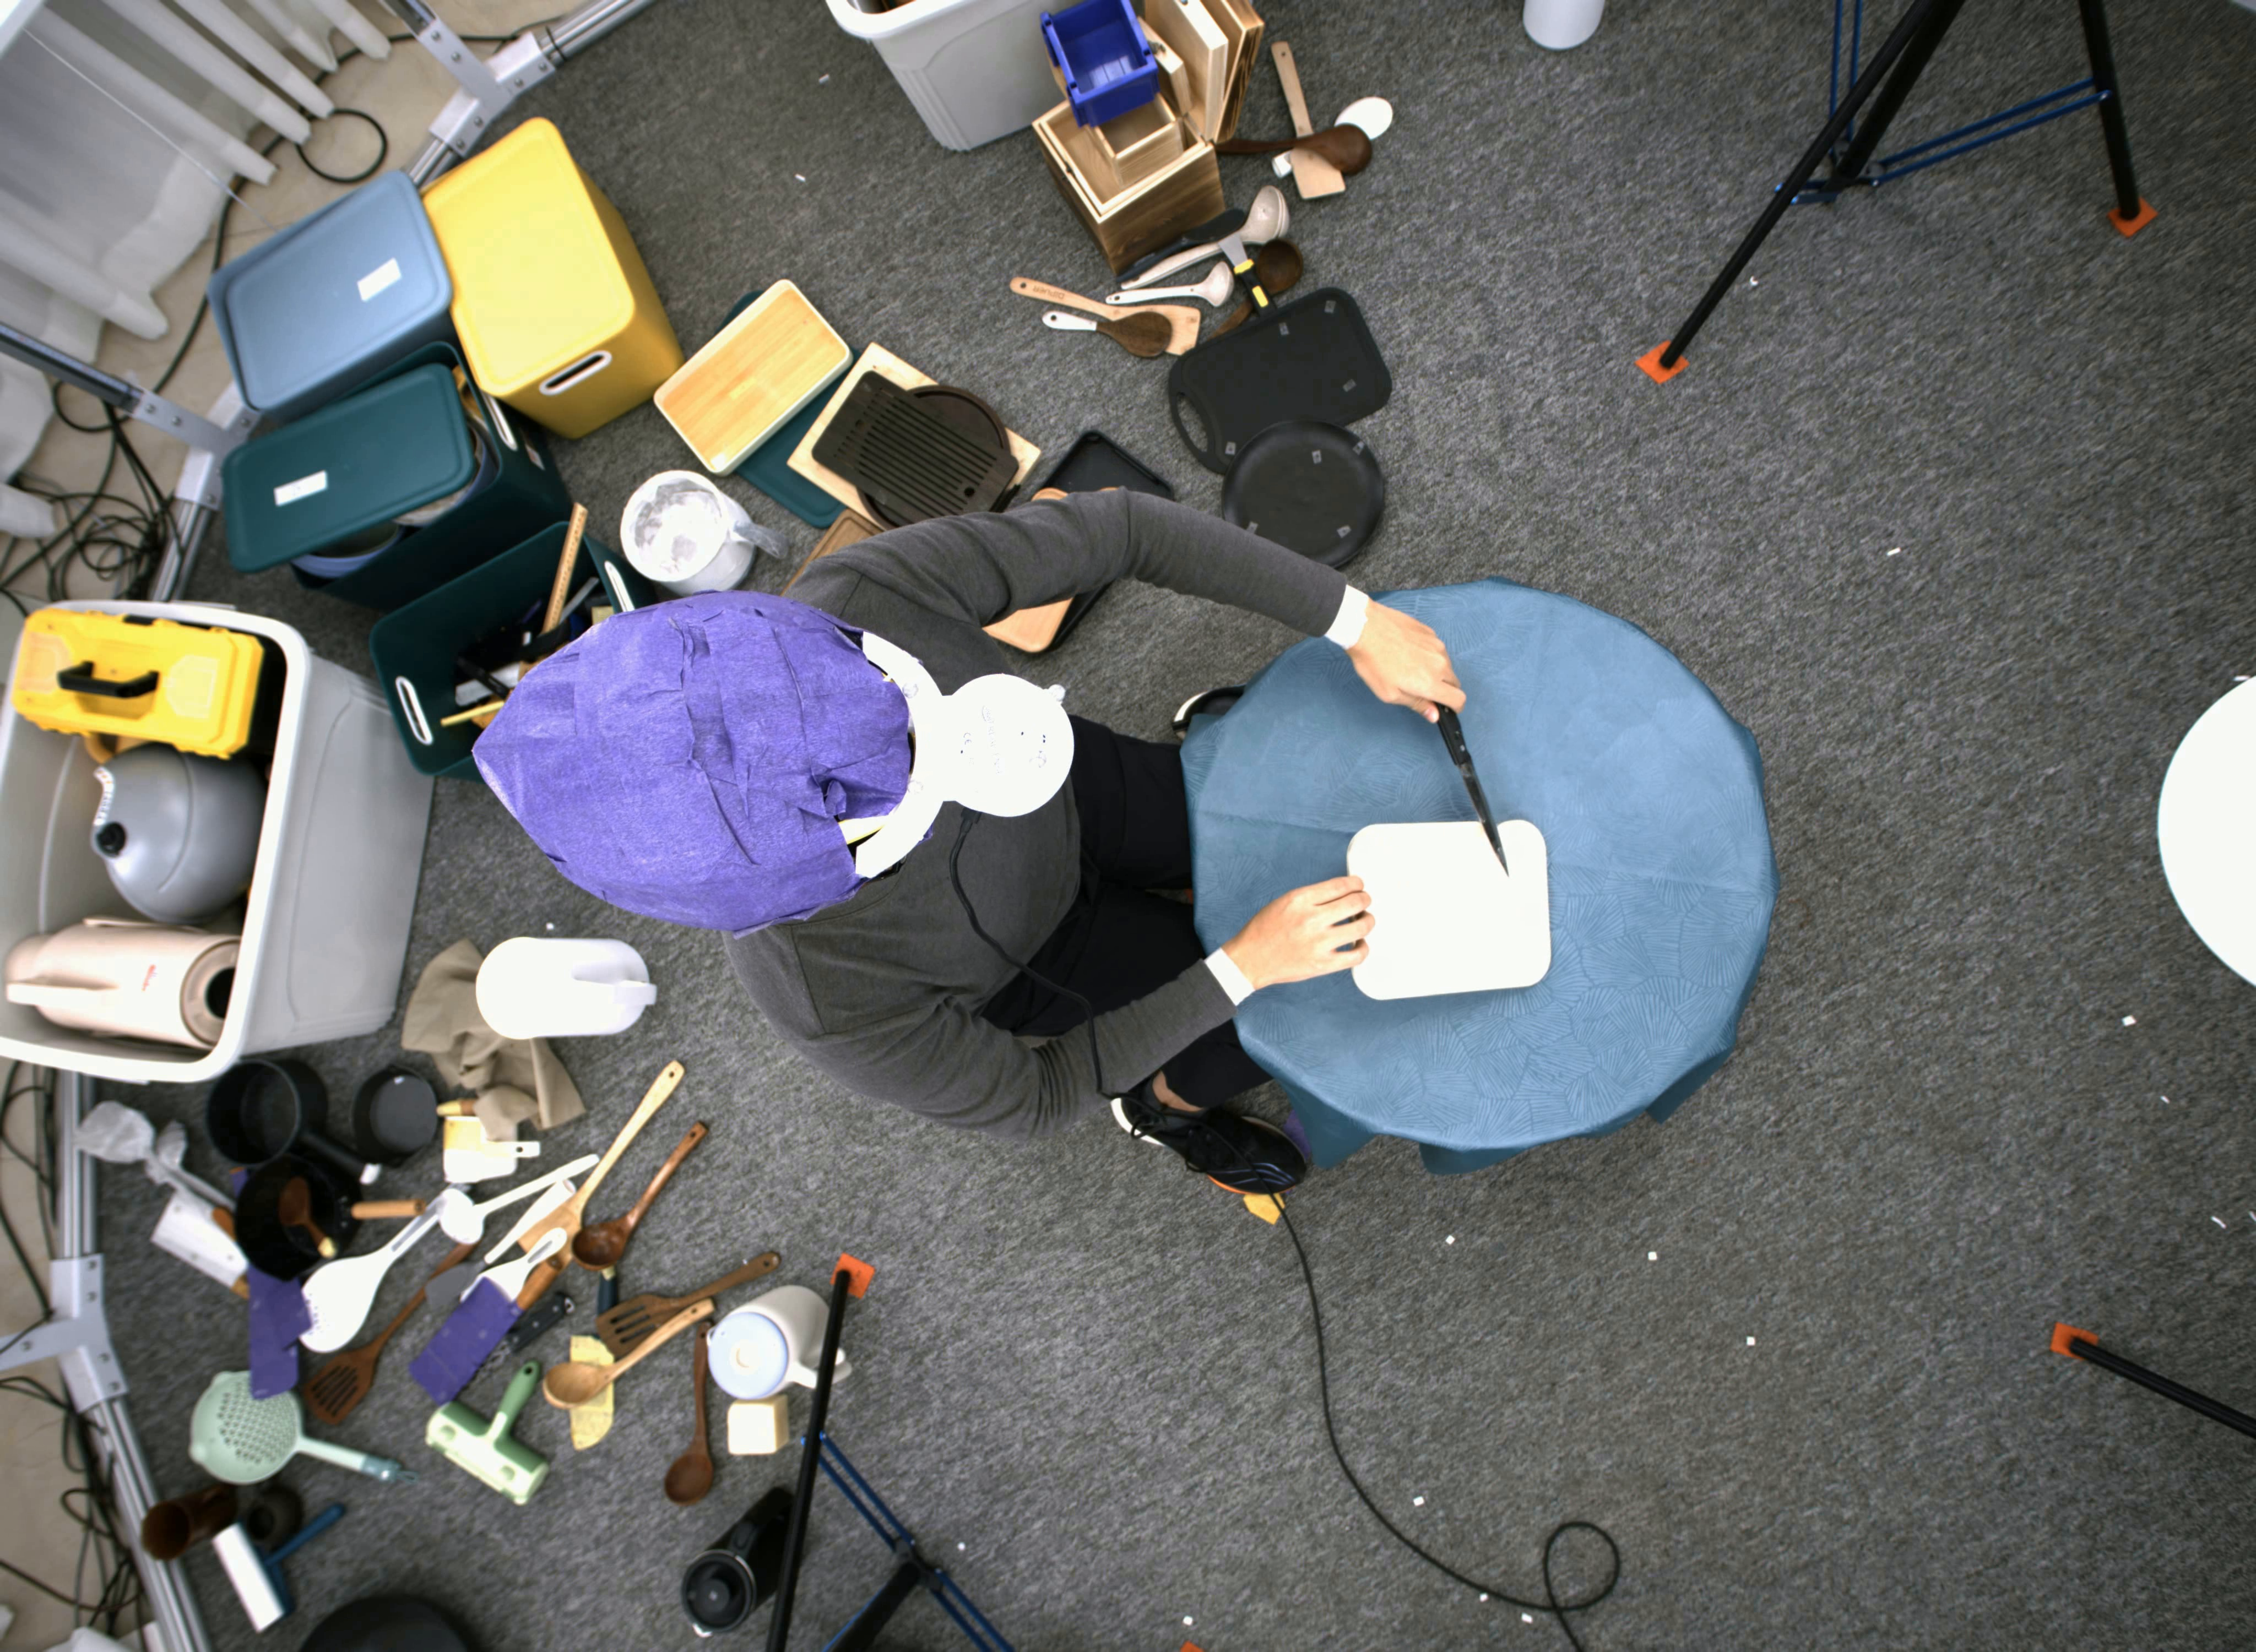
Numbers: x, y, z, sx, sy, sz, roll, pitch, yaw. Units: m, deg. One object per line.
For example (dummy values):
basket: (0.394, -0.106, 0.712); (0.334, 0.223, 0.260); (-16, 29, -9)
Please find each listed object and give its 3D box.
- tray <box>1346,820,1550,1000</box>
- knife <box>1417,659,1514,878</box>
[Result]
tray: (0.321, 0.080, 1.378); (0.238, 0.017, 0.171); (-2, 91, -23)
knife: (0.343, -0.059, 1.389); (0.024, 0.016, 0.237); (-21, 88, -31)
